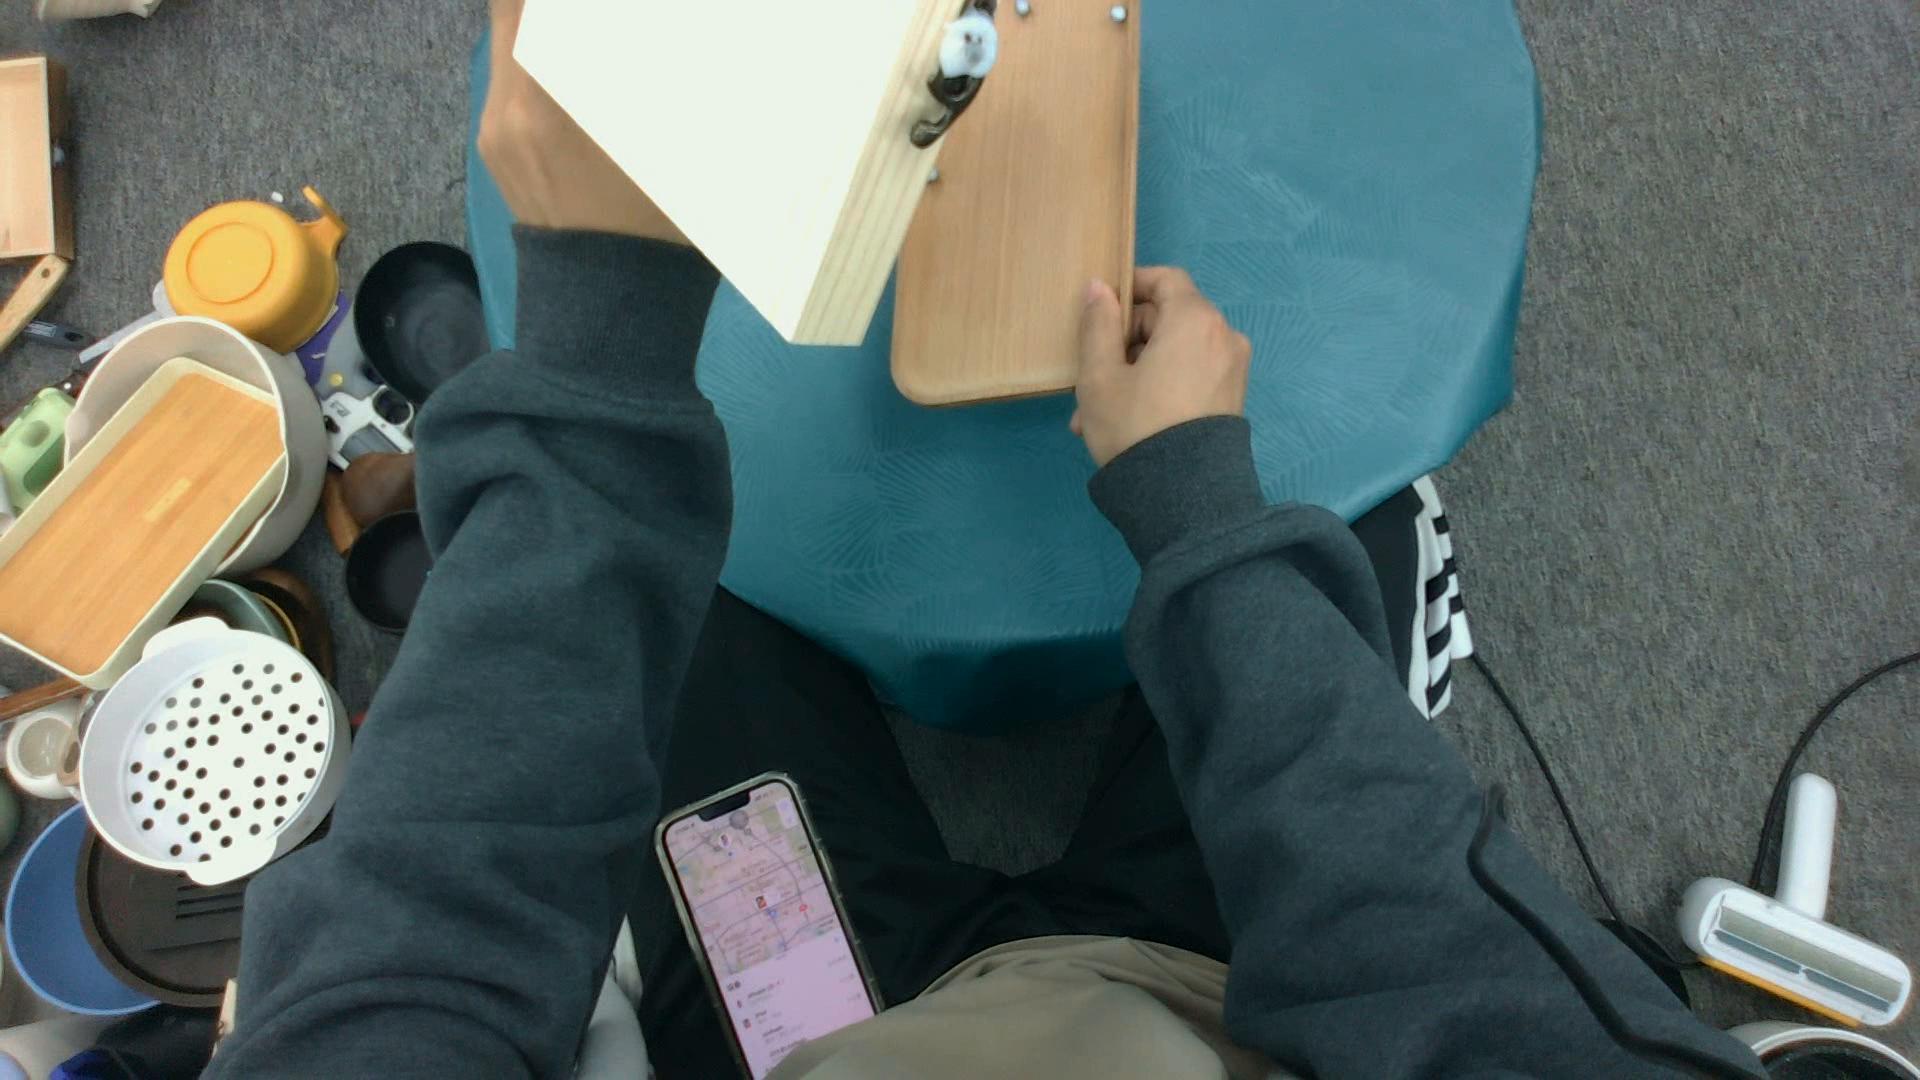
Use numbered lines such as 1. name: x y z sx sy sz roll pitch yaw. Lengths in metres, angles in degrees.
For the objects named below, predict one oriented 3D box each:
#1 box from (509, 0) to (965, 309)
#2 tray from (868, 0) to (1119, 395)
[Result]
1. box: -0.031 -0.222 0.467 0.253 0.266 0.181 40 123 28
2. tray: 0.019 -0.193 0.702 0.130 0.023 0.251 -6 71 26
